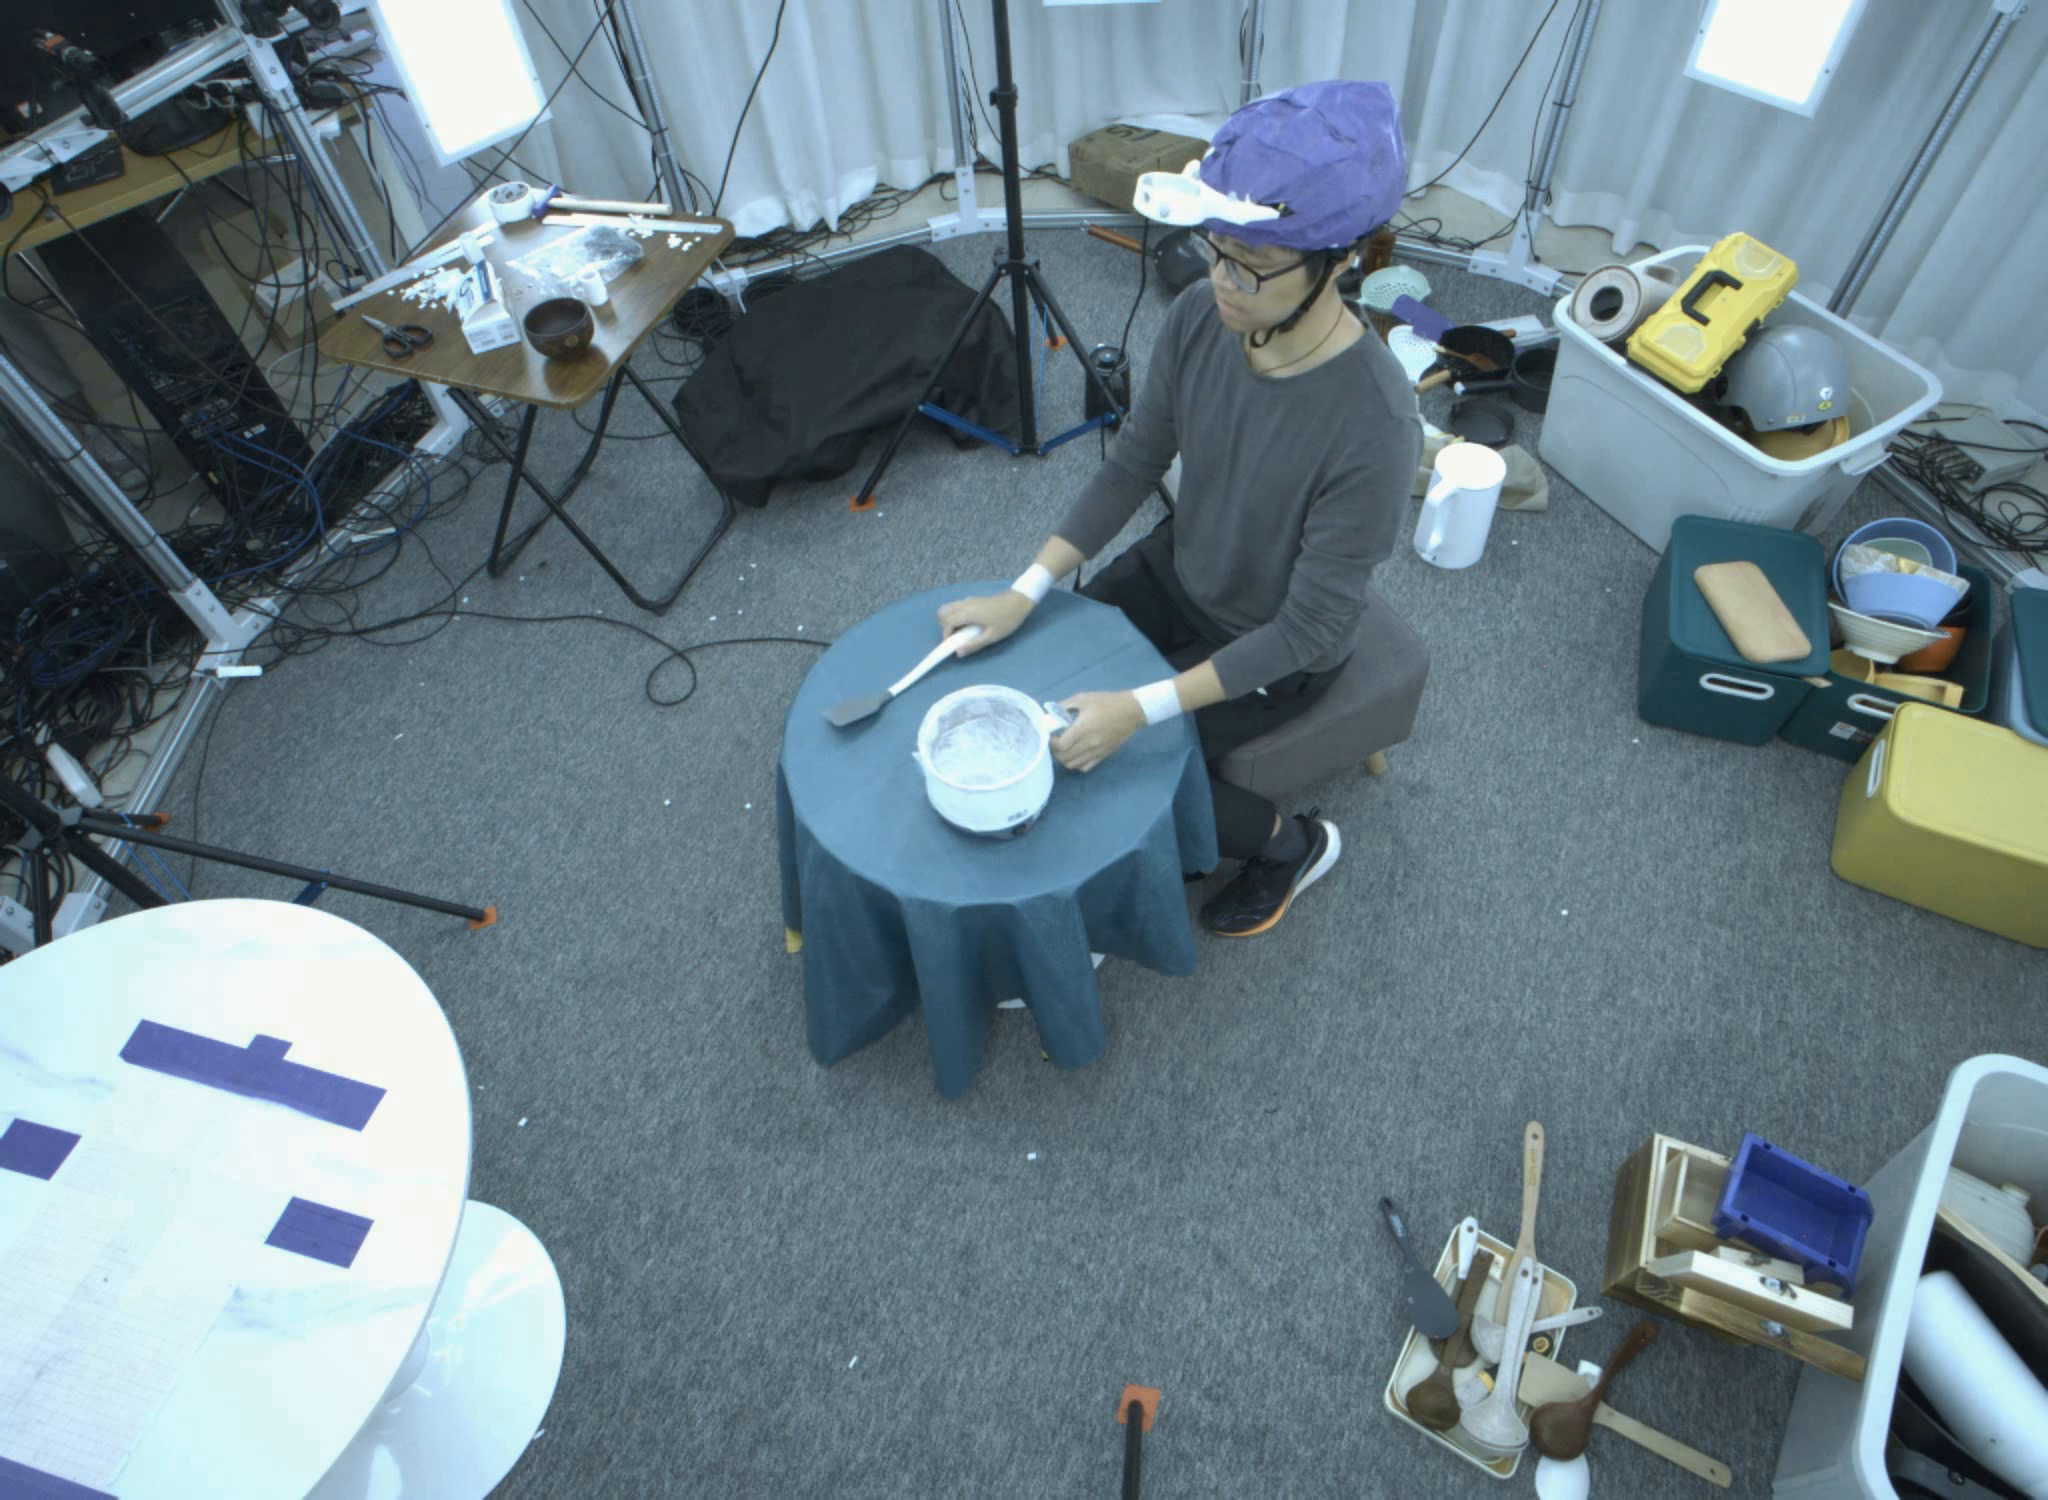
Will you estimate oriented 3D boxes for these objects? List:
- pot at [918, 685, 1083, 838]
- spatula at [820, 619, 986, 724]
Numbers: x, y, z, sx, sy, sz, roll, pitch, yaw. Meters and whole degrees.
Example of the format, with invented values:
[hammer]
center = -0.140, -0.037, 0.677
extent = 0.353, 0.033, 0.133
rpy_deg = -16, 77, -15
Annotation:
[pot]
center = -0.026, 0.006, 1.706
extent = 0.235, 0.138, 0.175
rpy_deg = -25, 58, -15
[spatula]
center = -0.179, -0.115, 1.862
extent = 0.290, 0.032, 0.057
rpy_deg = -34, 49, -22
